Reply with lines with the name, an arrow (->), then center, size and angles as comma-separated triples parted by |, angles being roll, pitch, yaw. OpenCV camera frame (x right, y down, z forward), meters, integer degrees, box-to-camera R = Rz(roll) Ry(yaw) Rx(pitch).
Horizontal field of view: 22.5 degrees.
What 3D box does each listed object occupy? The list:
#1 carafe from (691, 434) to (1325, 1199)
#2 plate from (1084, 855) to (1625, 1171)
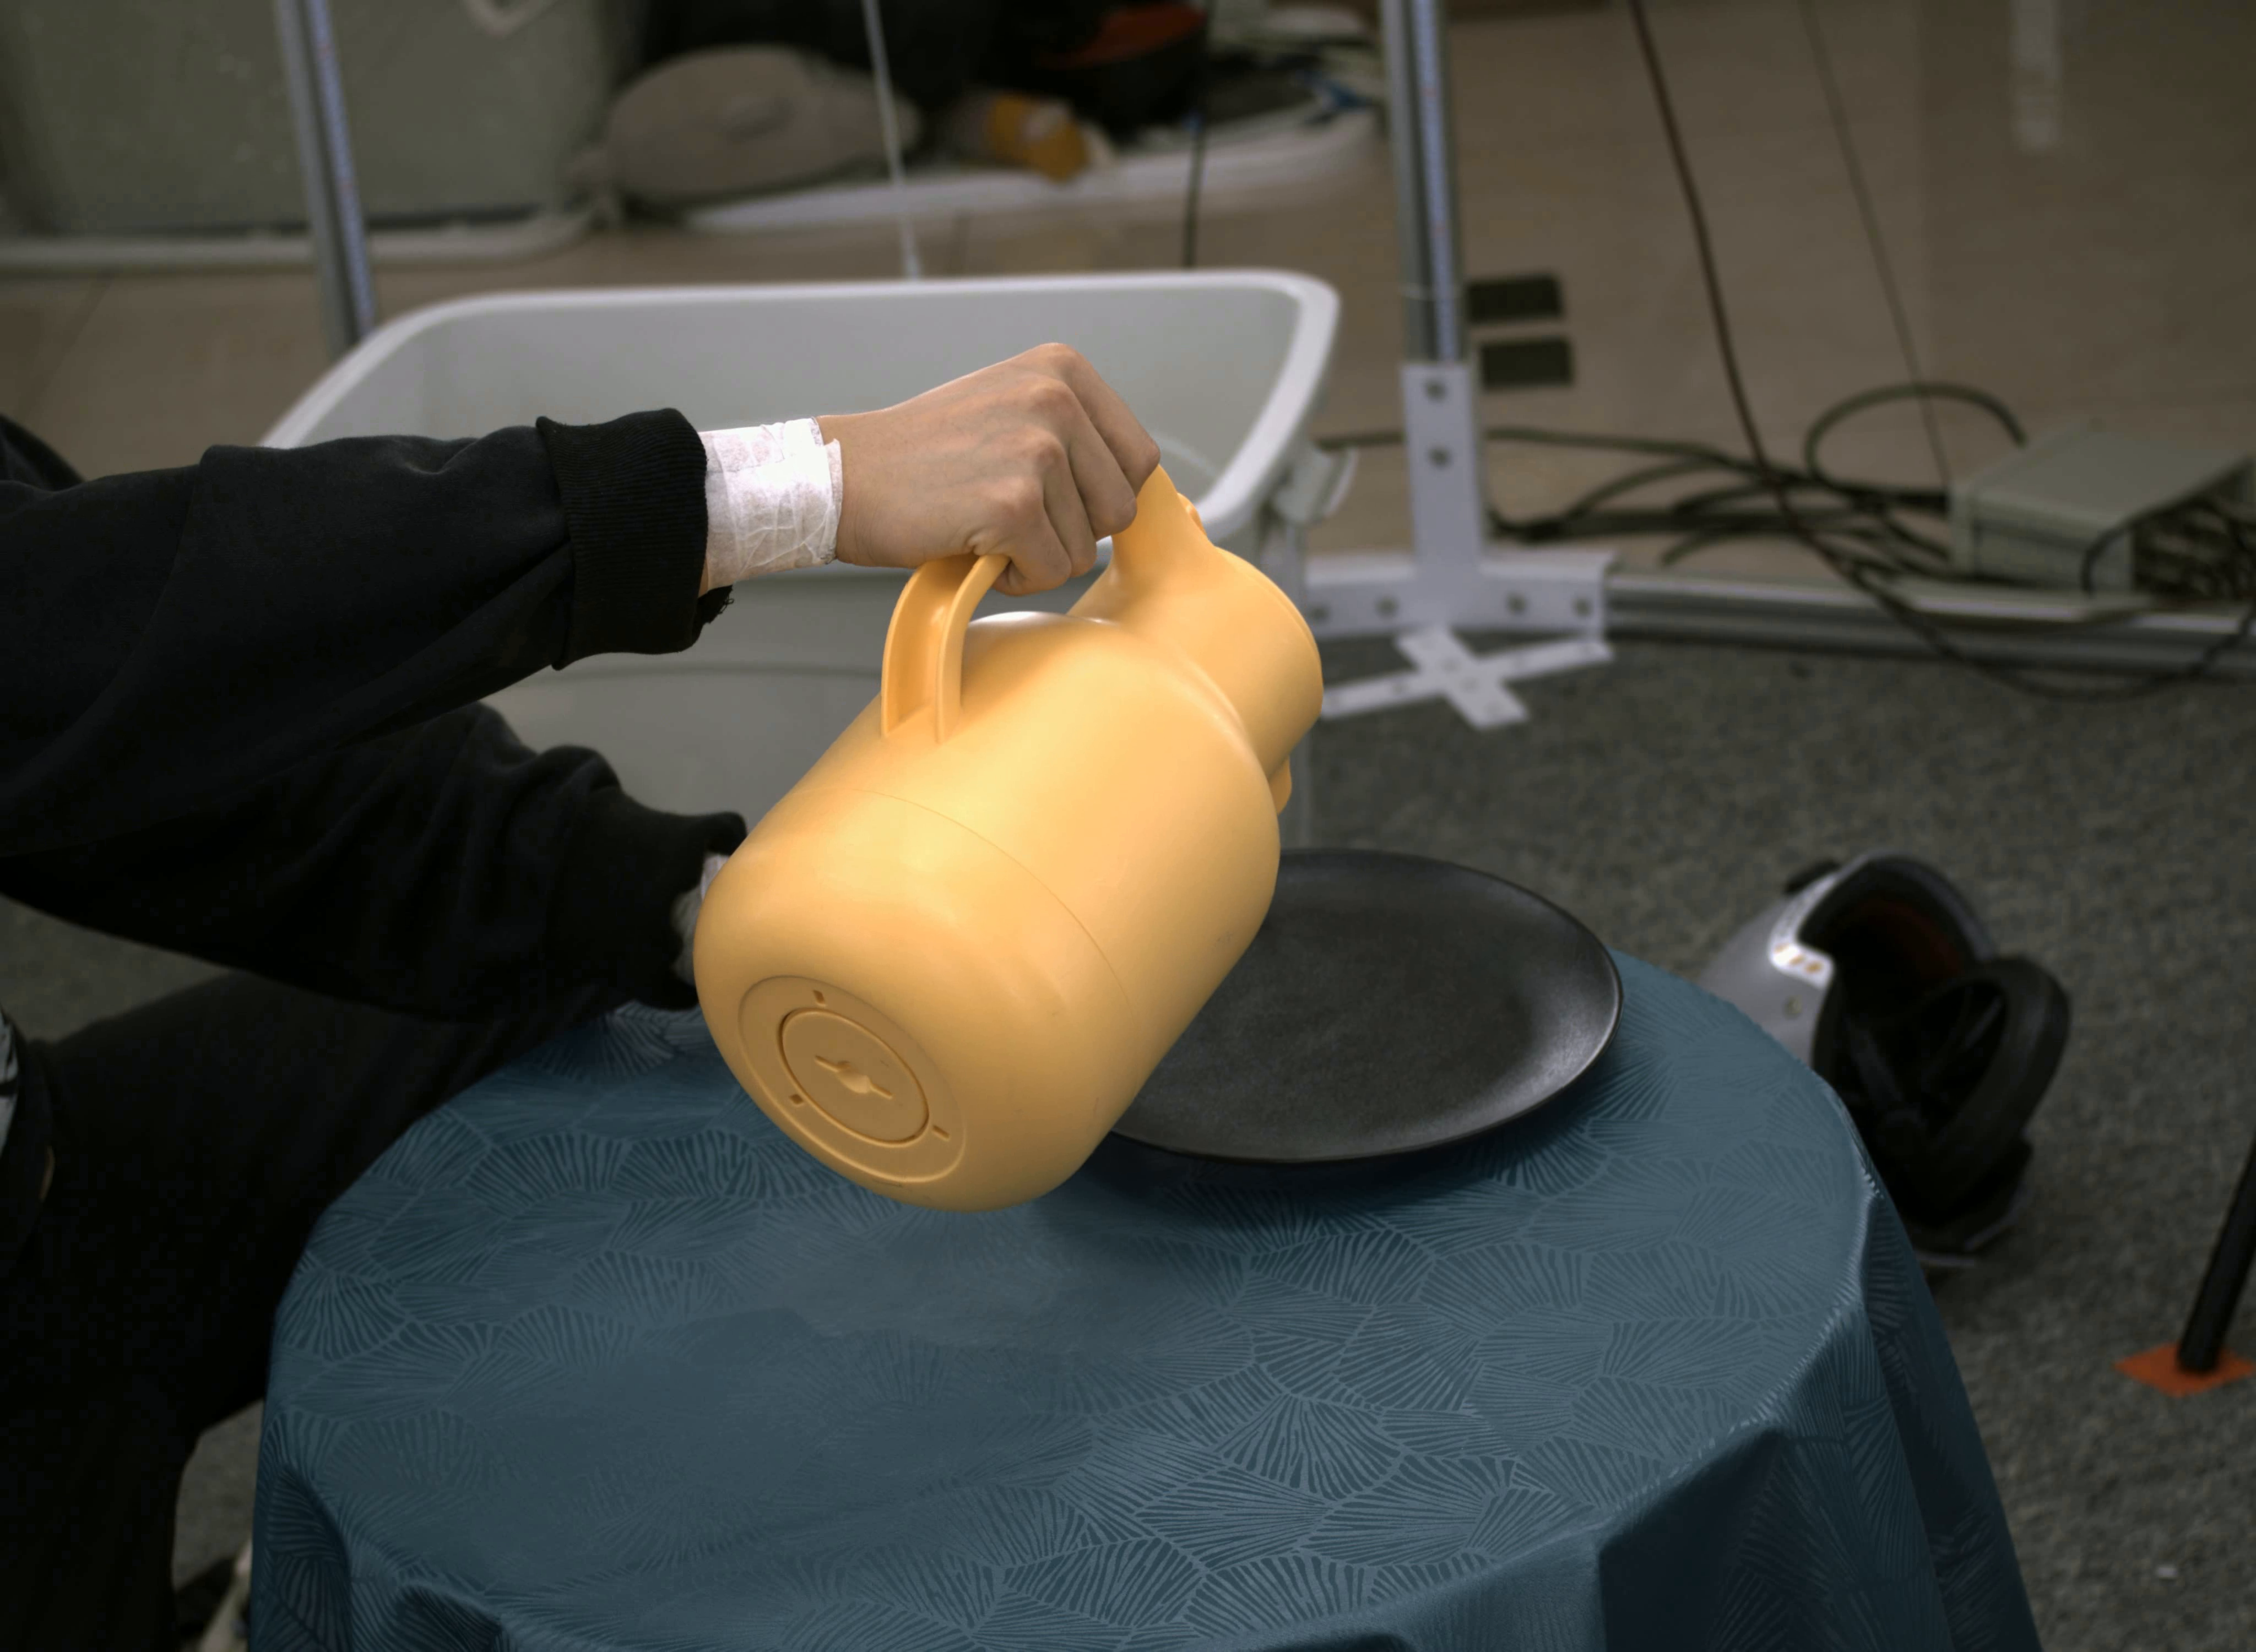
carafe -> -0.037, -0.013, 2.011 | 0.163, 0.206, 0.257 | 4, 40, 37
plate -> 0.073, 0.077, 2.219 | 0.244, 0.024, 0.240 | -2, 28, 1
